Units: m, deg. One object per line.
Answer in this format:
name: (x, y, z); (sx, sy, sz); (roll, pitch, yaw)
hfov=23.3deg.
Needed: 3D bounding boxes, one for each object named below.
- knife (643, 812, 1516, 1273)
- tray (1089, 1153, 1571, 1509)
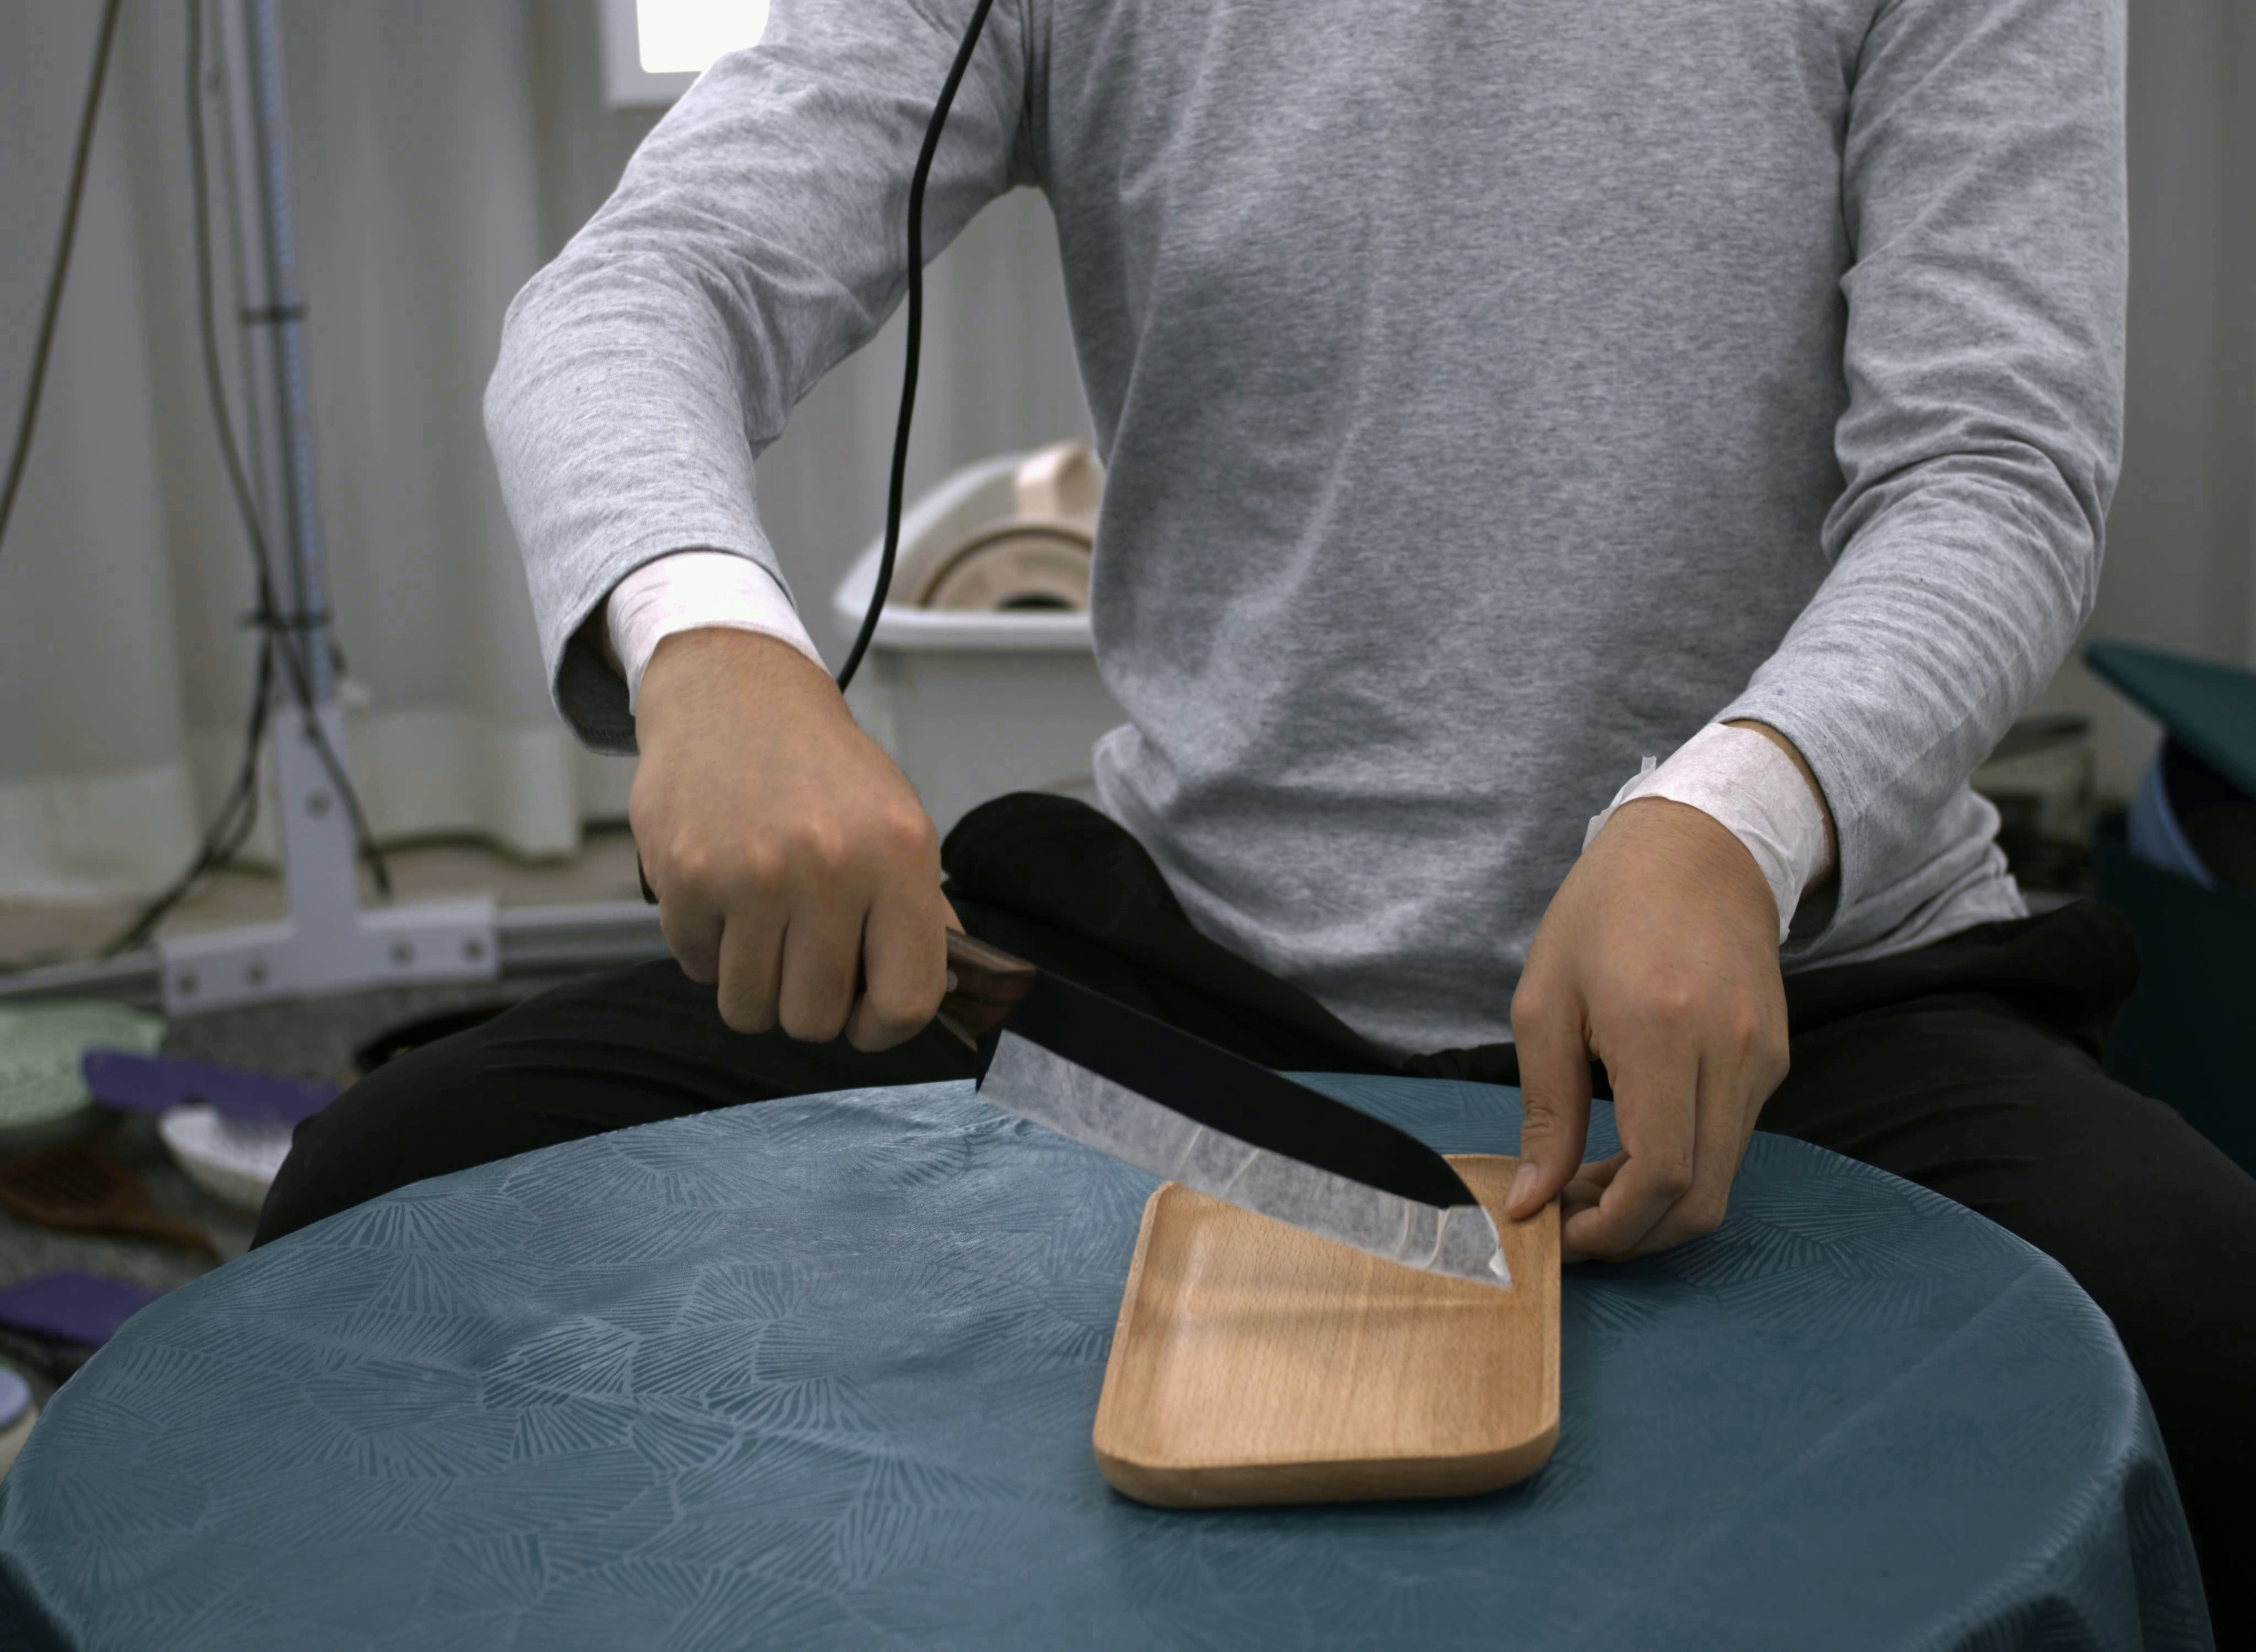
knife: (-0.016, 0.063, 1.595); (0.290, 0.050, 0.020); (25, 17, 12)
tray: (0.062, 0.142, 1.566); (0.130, 0.023, 0.252); (-1, 14, 6)
